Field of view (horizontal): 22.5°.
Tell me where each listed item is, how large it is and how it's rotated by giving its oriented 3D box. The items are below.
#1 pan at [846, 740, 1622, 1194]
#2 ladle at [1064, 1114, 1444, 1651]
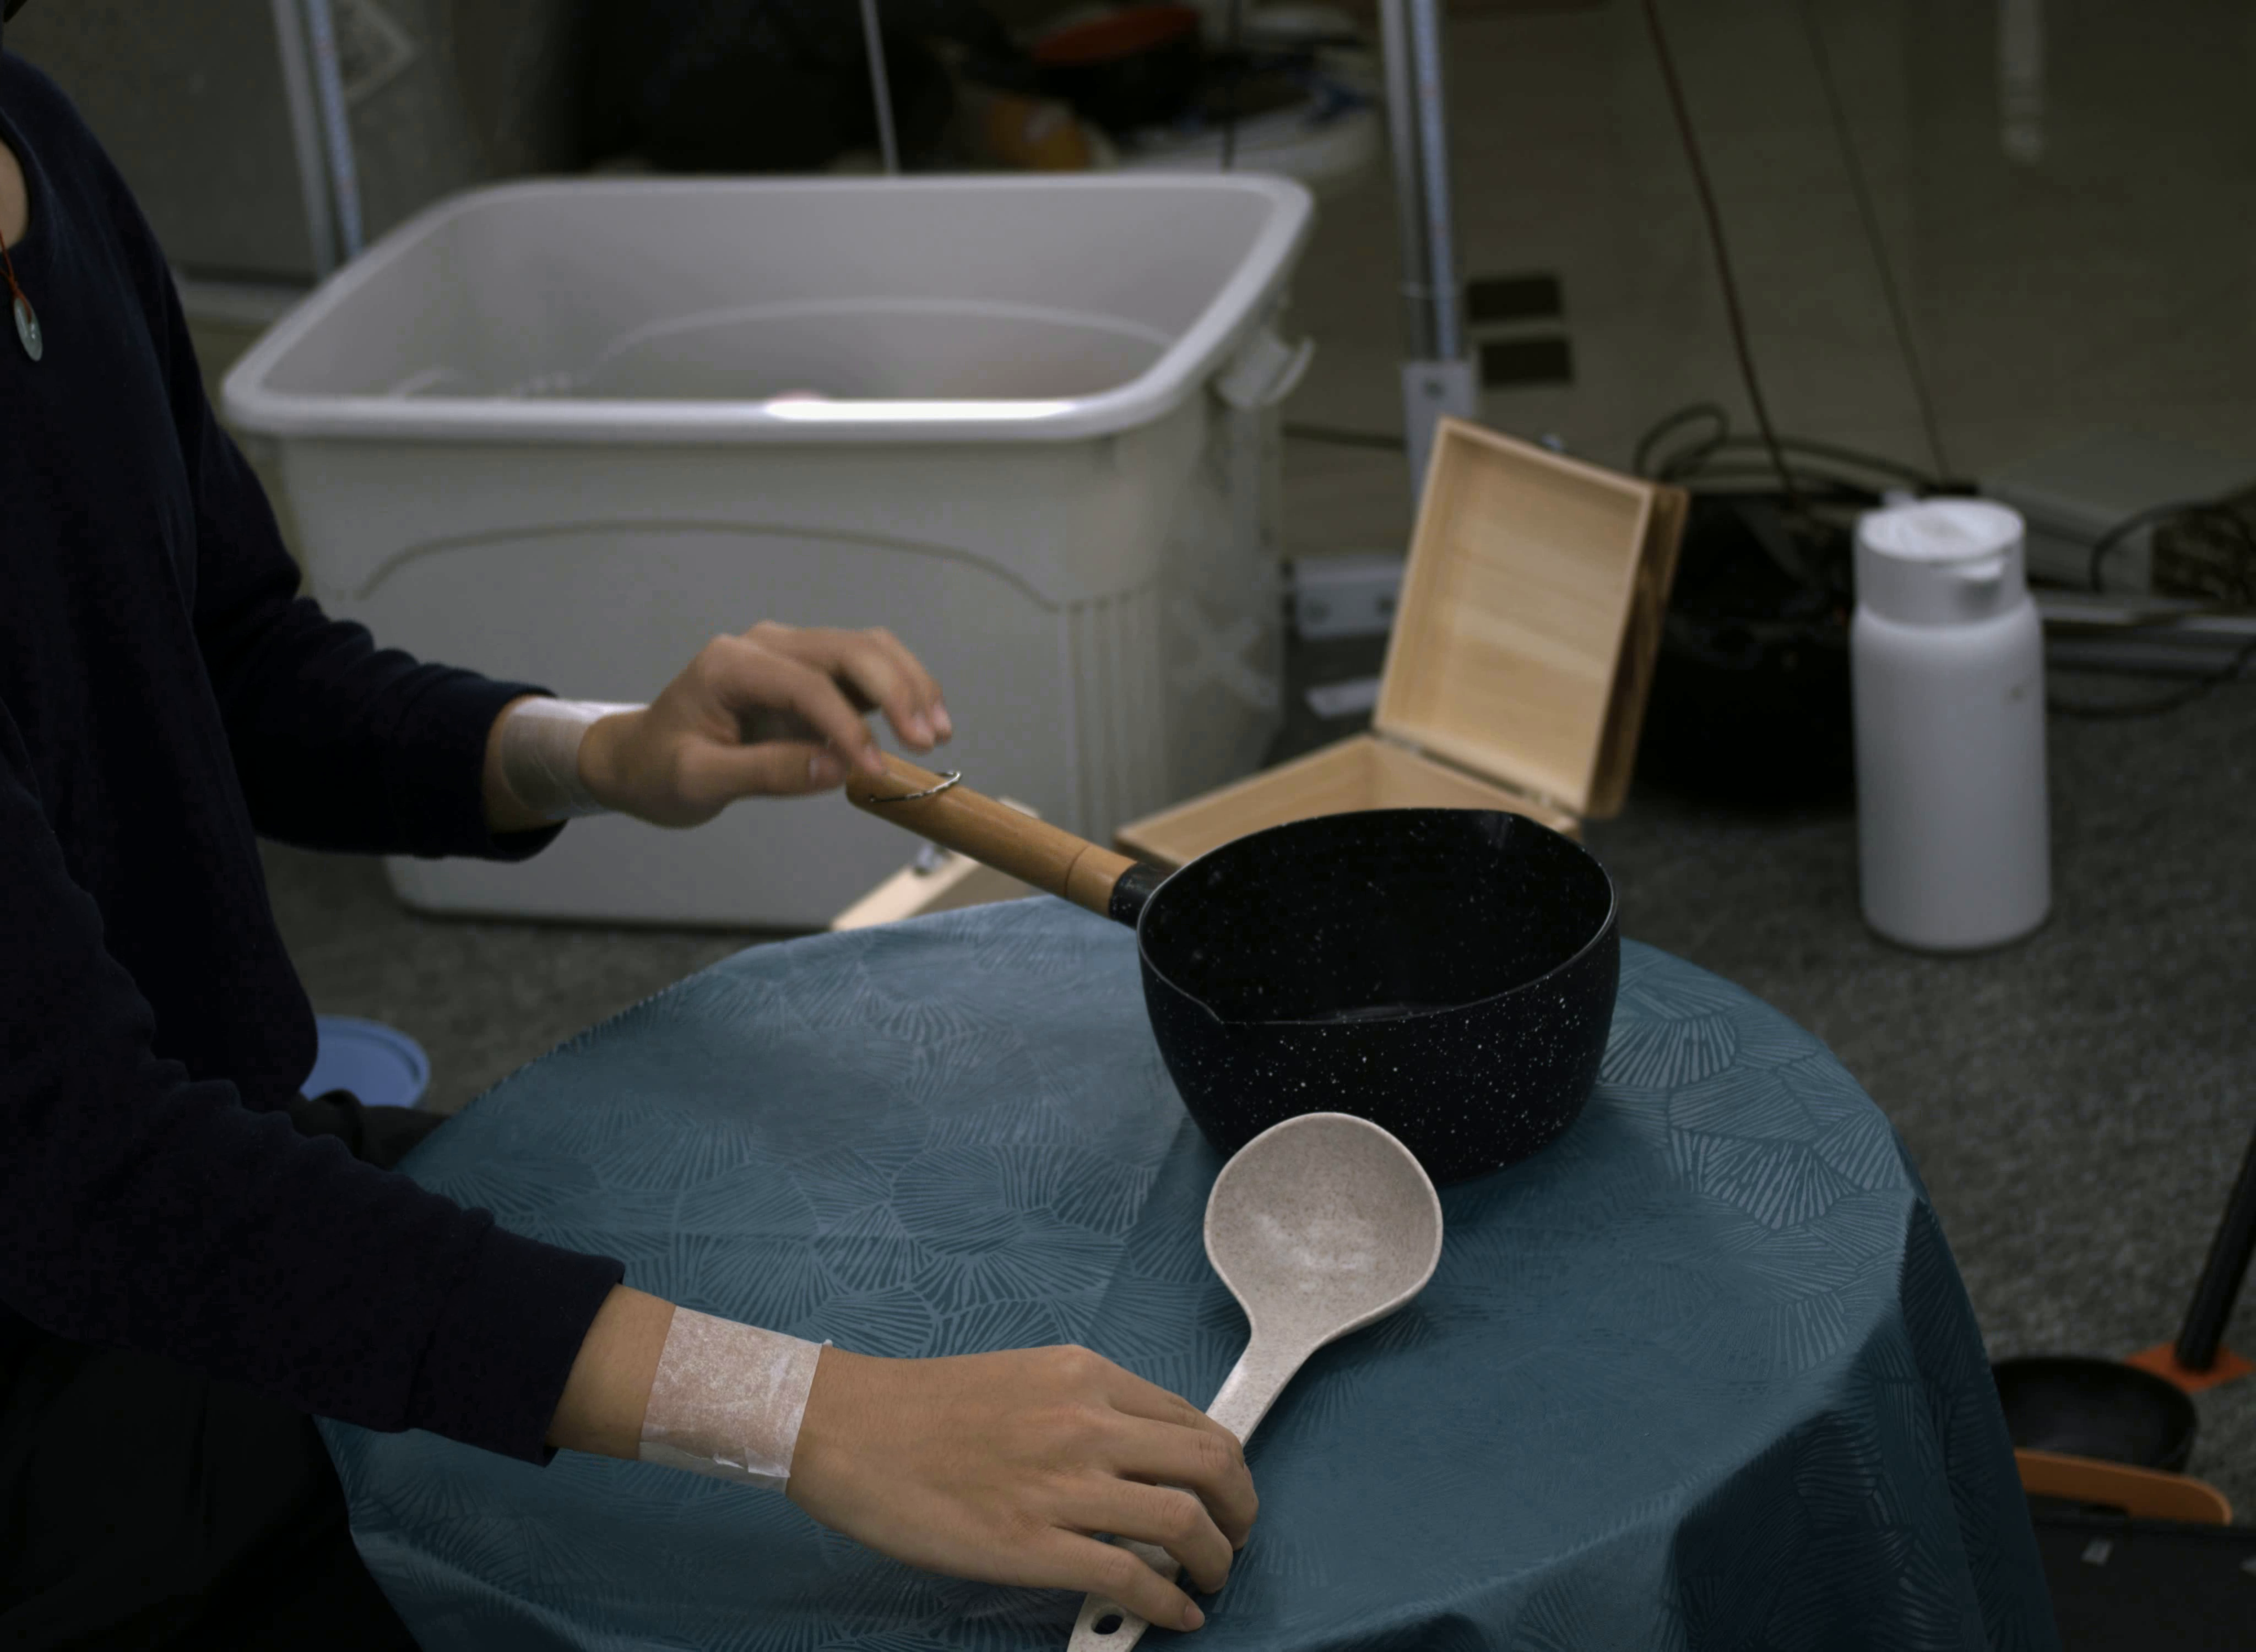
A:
[{"bbox_3d":[0.032,0.046,2.207,0.341,0.110,0.205,12,32,32],"label":"pan"},{"bbox_3d":[0.032,0.191,1.947,0.089,0.070,0.271,12,30,17],"label":"ladle"}]
